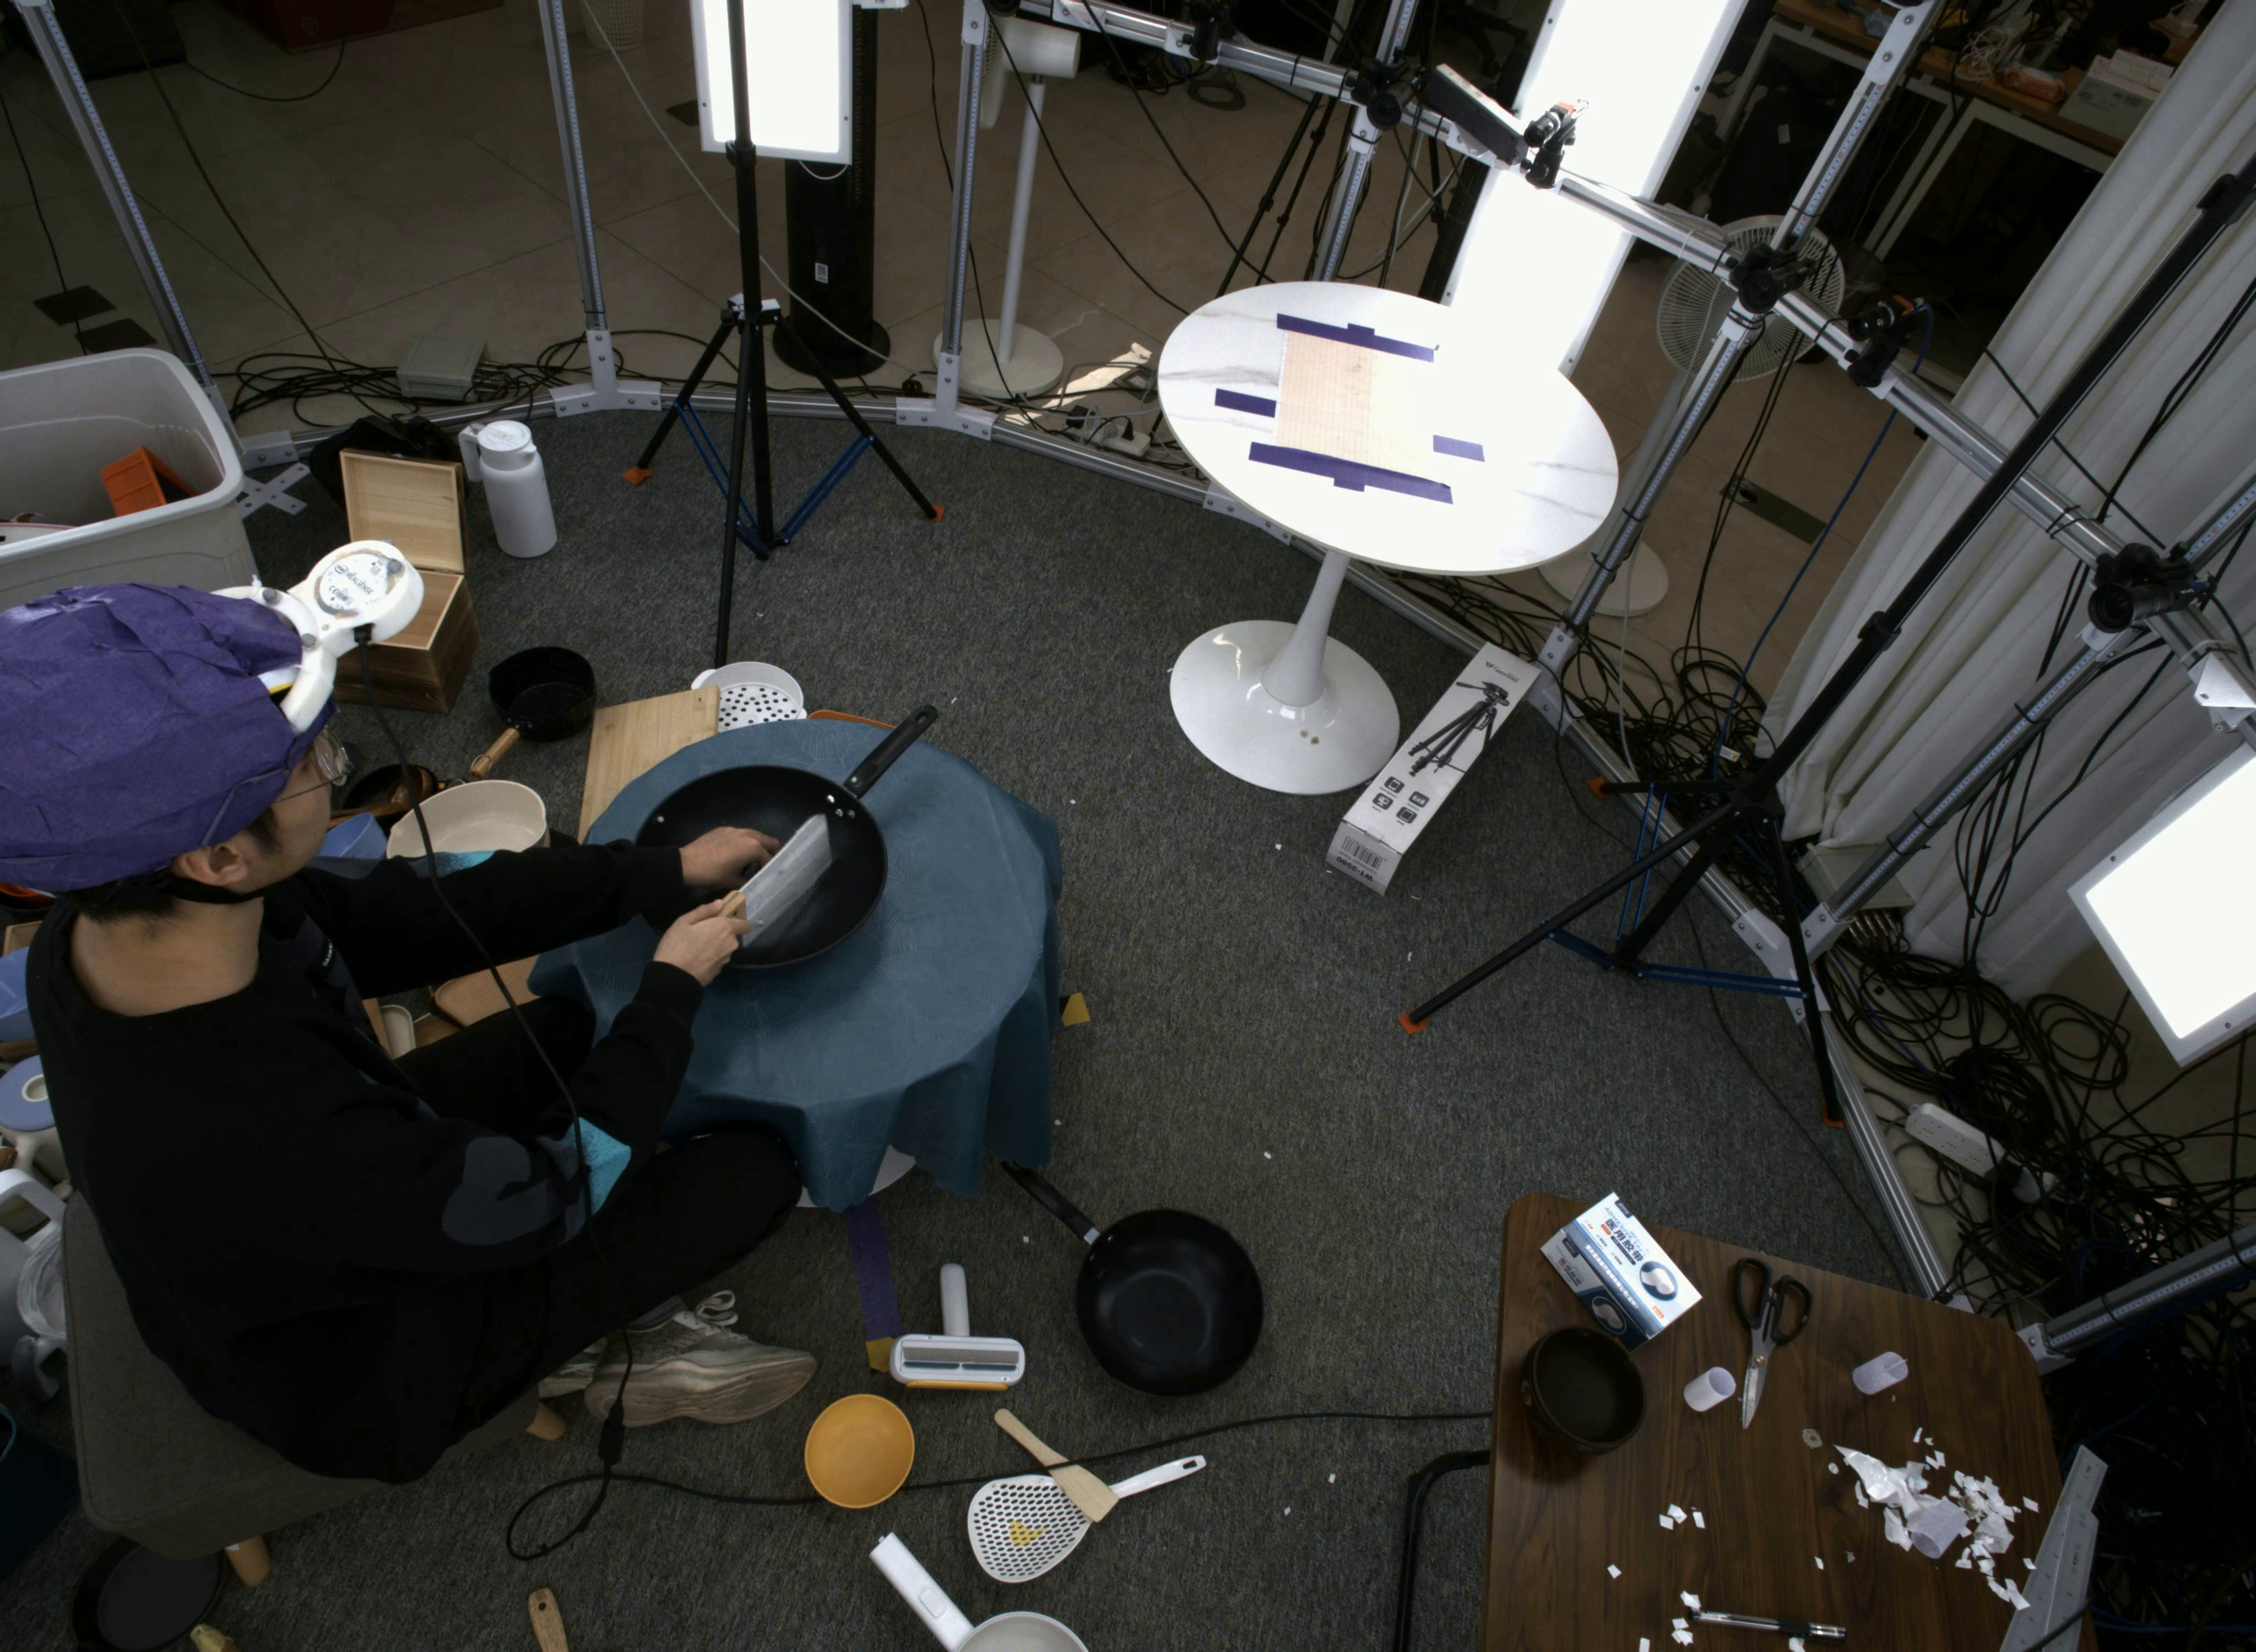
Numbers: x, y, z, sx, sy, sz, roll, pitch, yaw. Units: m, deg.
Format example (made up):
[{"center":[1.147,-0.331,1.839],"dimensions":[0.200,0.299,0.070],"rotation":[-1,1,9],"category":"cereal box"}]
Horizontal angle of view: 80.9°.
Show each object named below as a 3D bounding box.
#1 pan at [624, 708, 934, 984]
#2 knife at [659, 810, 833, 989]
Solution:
[{"center":[-0.409,0.017,1.637],"dimensions":[0.305,0.114,0.476],"rotation":[35,53,11],"category":"pan"},{"center":[-0.442,0.086,1.526],"dimensions":[0.021,0.117,0.314],"rotation":[20,36,16],"category":"knife"}]
